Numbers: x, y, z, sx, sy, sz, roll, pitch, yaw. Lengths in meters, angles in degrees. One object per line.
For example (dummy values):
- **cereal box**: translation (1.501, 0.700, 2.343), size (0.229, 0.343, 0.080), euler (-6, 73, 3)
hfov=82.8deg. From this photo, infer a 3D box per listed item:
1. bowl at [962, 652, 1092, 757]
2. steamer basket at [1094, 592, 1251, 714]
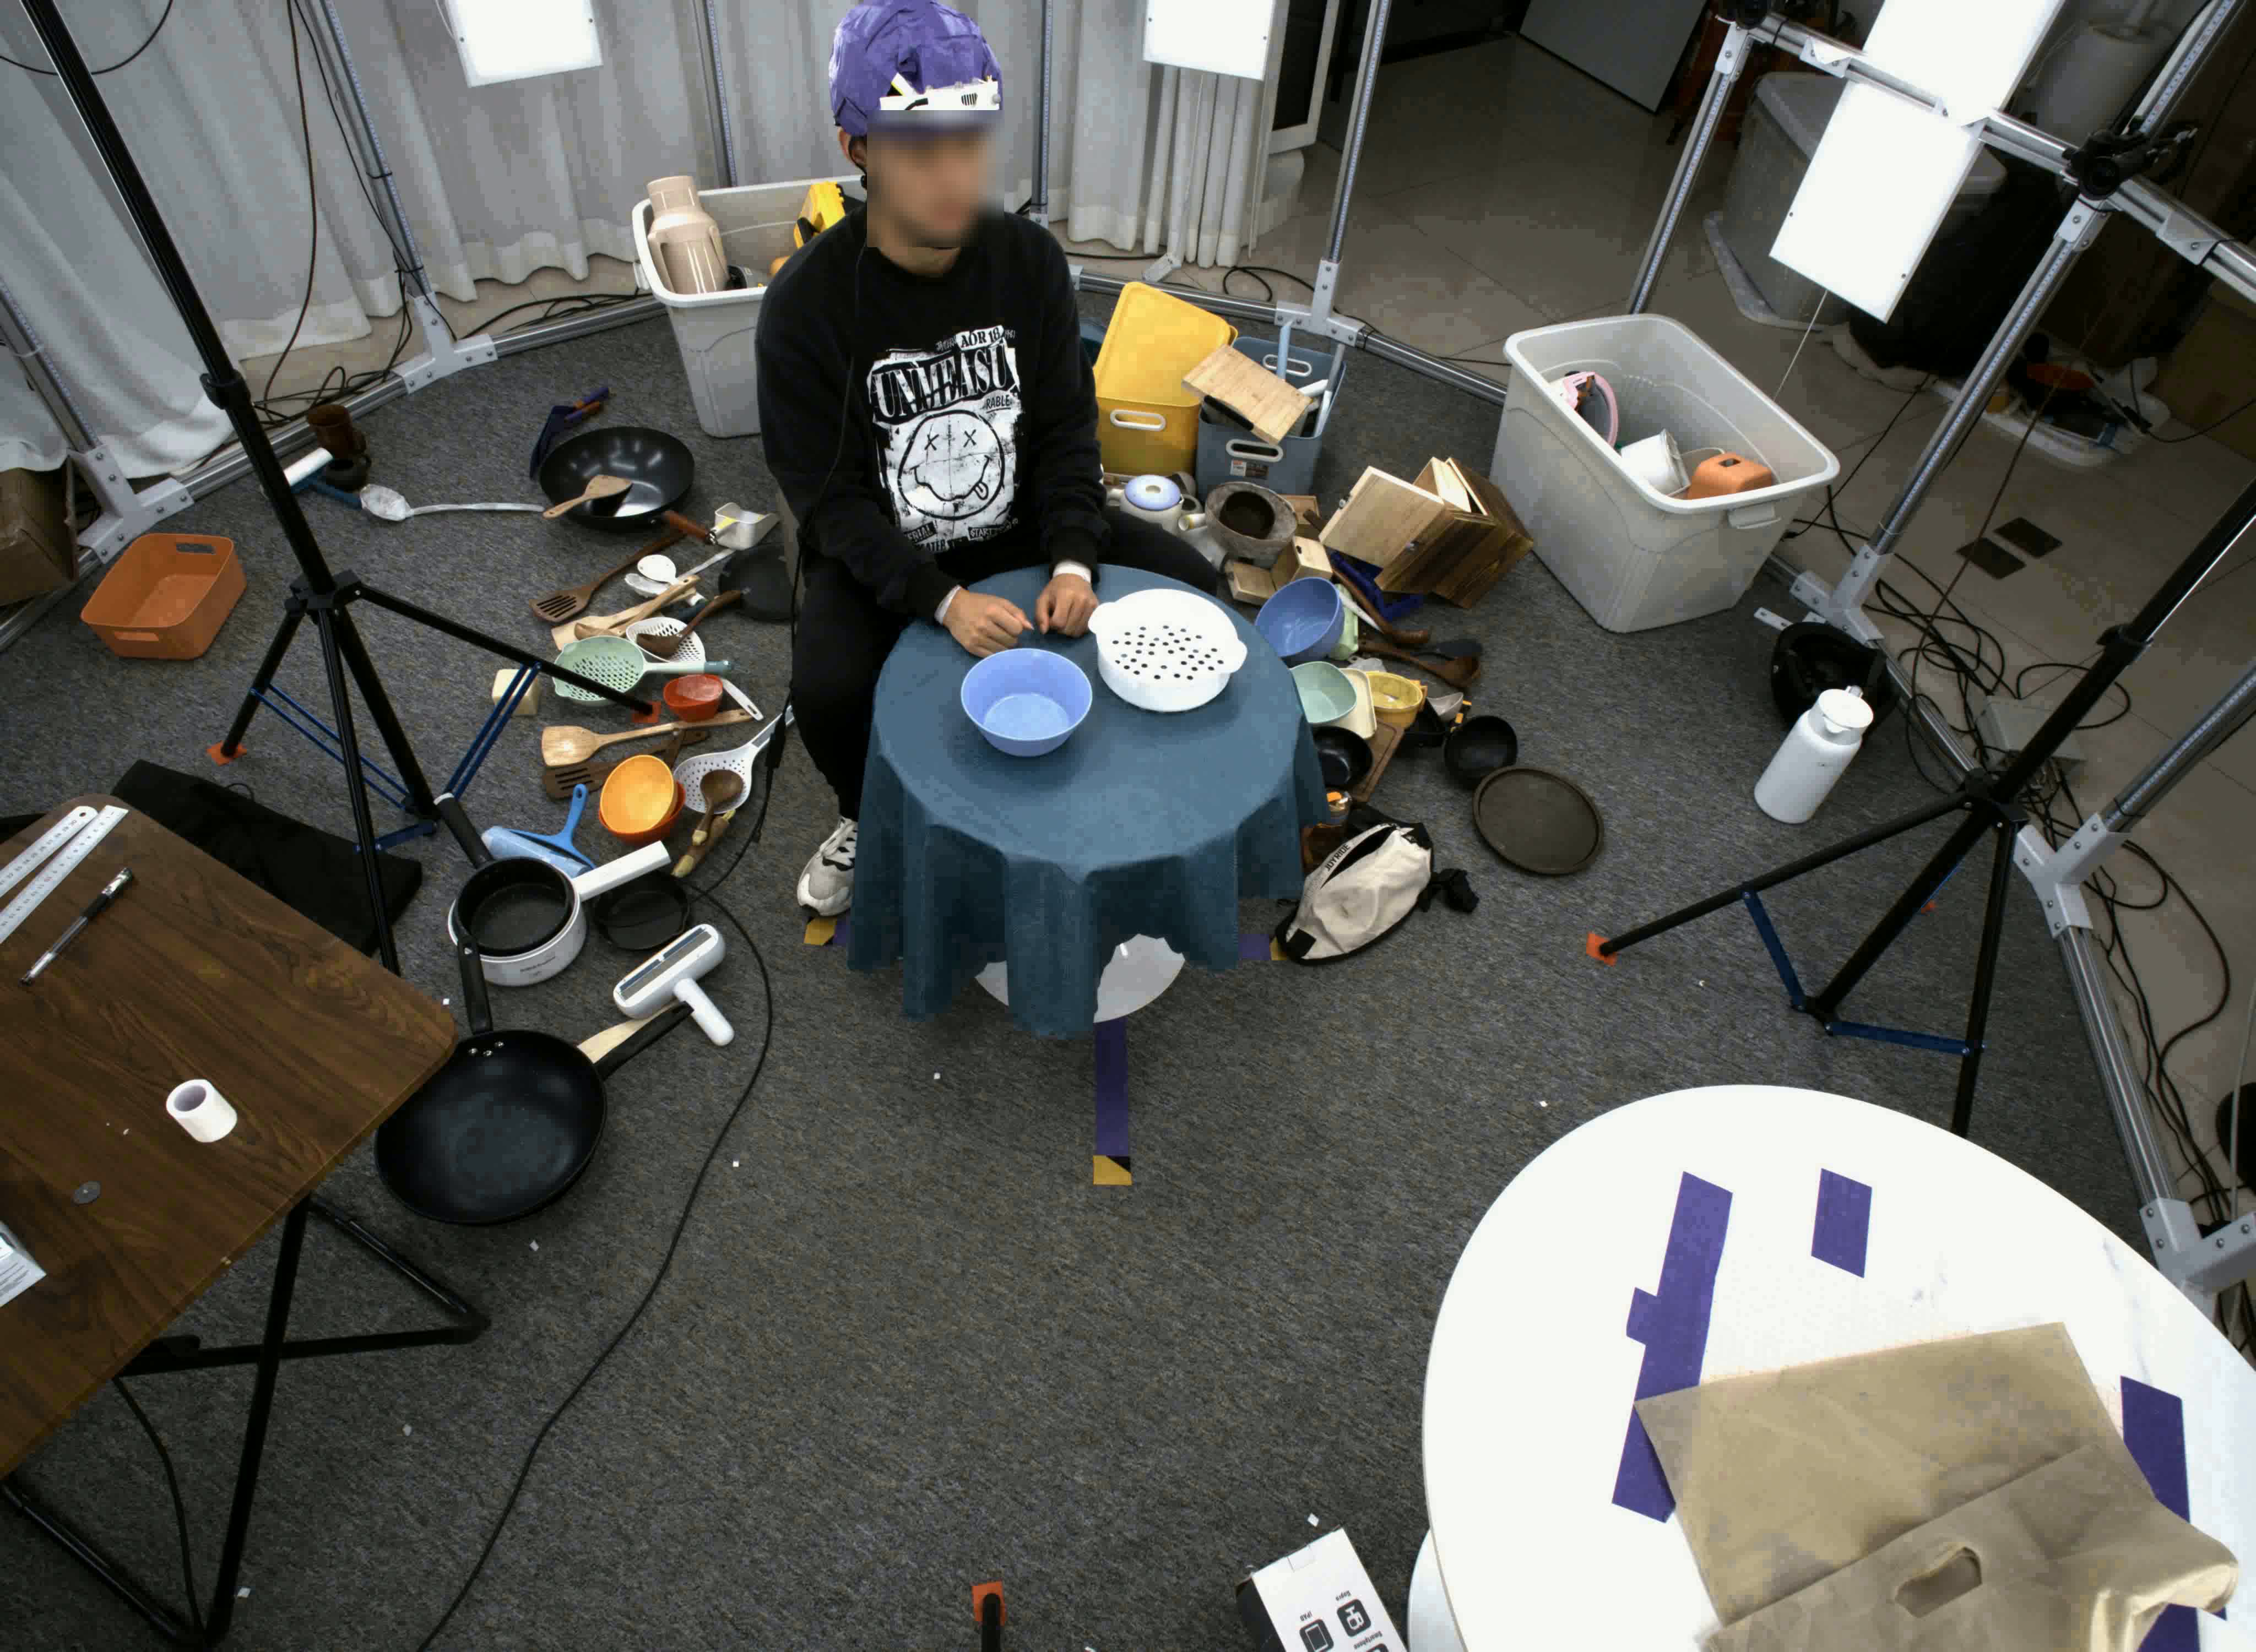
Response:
- **bowl**: translation (-0.139, -0.158, 1.766), size (0.176, 0.068, 0.180), euler (2, 48, -3)
- **steamer basket**: translation (0.061, -0.250, 1.861), size (0.231, 0.067, 0.206), euler (19, 50, 10)
